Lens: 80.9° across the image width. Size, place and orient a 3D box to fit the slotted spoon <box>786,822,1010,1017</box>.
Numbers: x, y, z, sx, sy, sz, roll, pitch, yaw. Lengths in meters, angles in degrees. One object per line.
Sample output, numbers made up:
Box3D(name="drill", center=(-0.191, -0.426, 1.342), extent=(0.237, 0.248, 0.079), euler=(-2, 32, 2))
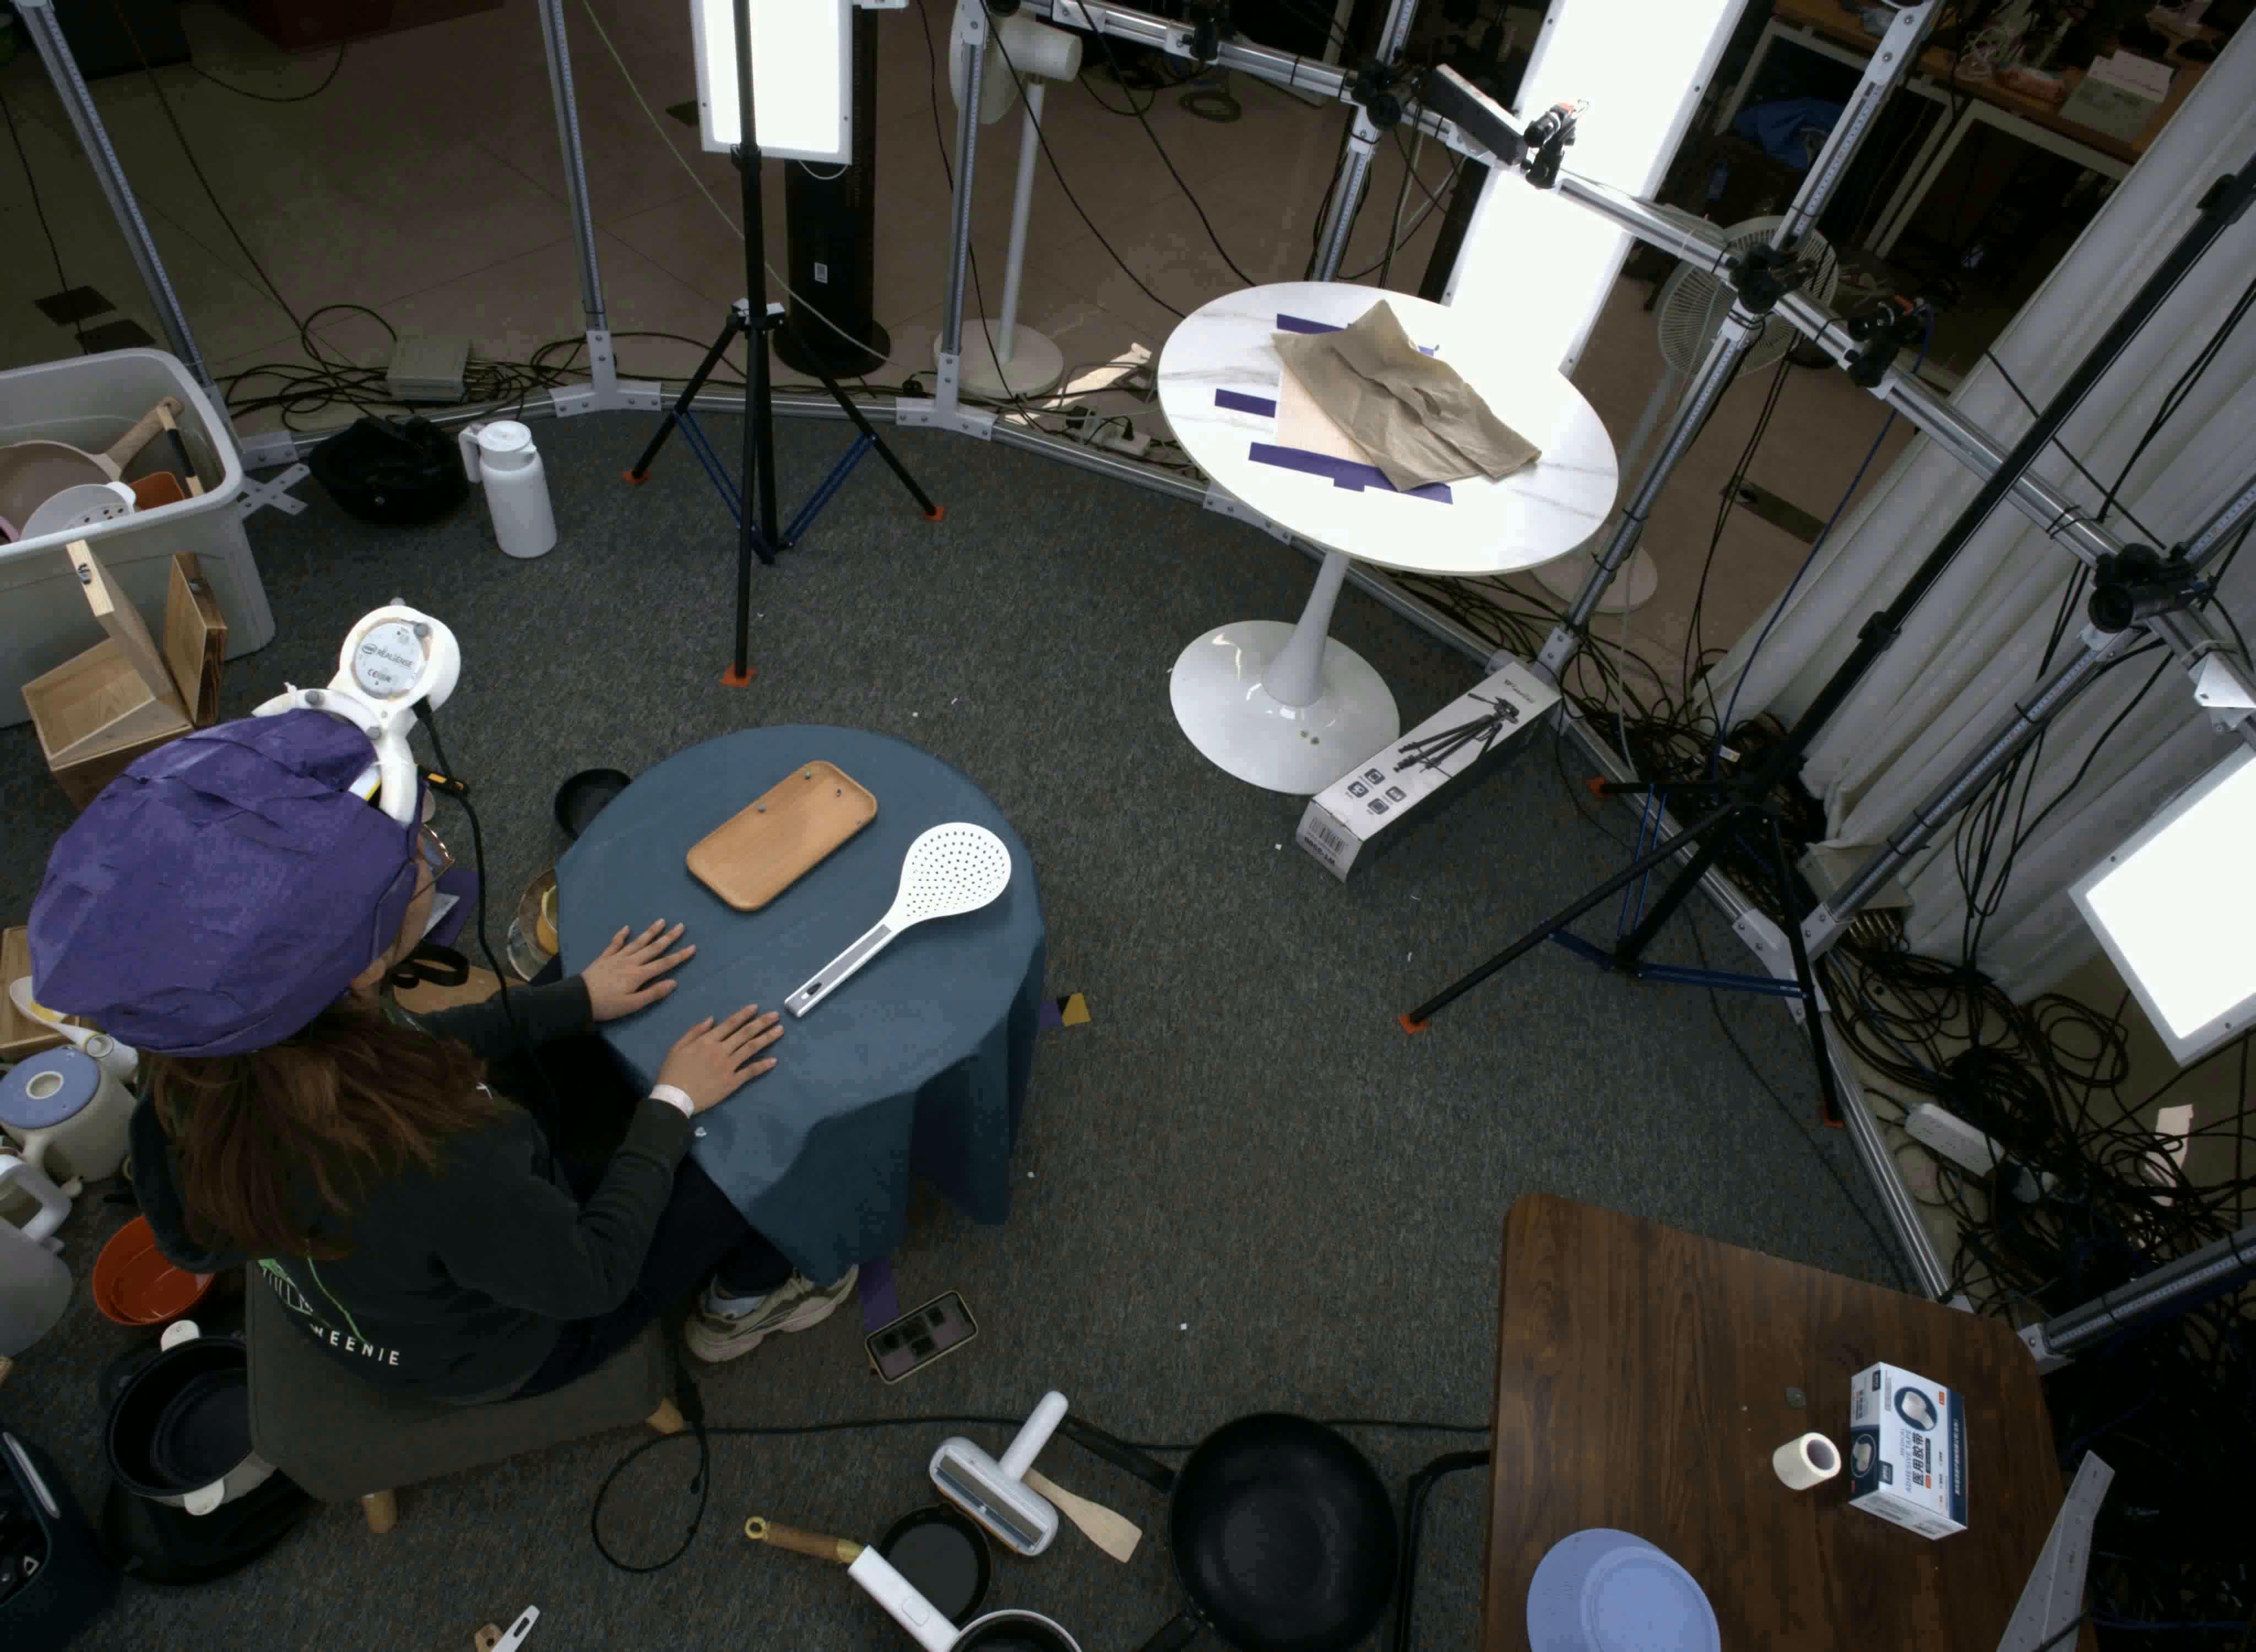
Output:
Box3D(name="slotted spoon", center=(-0.292, 0.117, 1.646), extent=(0.133, 0.047, 0.350), euler=(38, 55, 17))

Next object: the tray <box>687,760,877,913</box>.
Box3D(name="tray", center=(-0.452, 0.010, 1.703), extent=(0.128, 0.023, 0.250), euler=(36, 54, 15))
